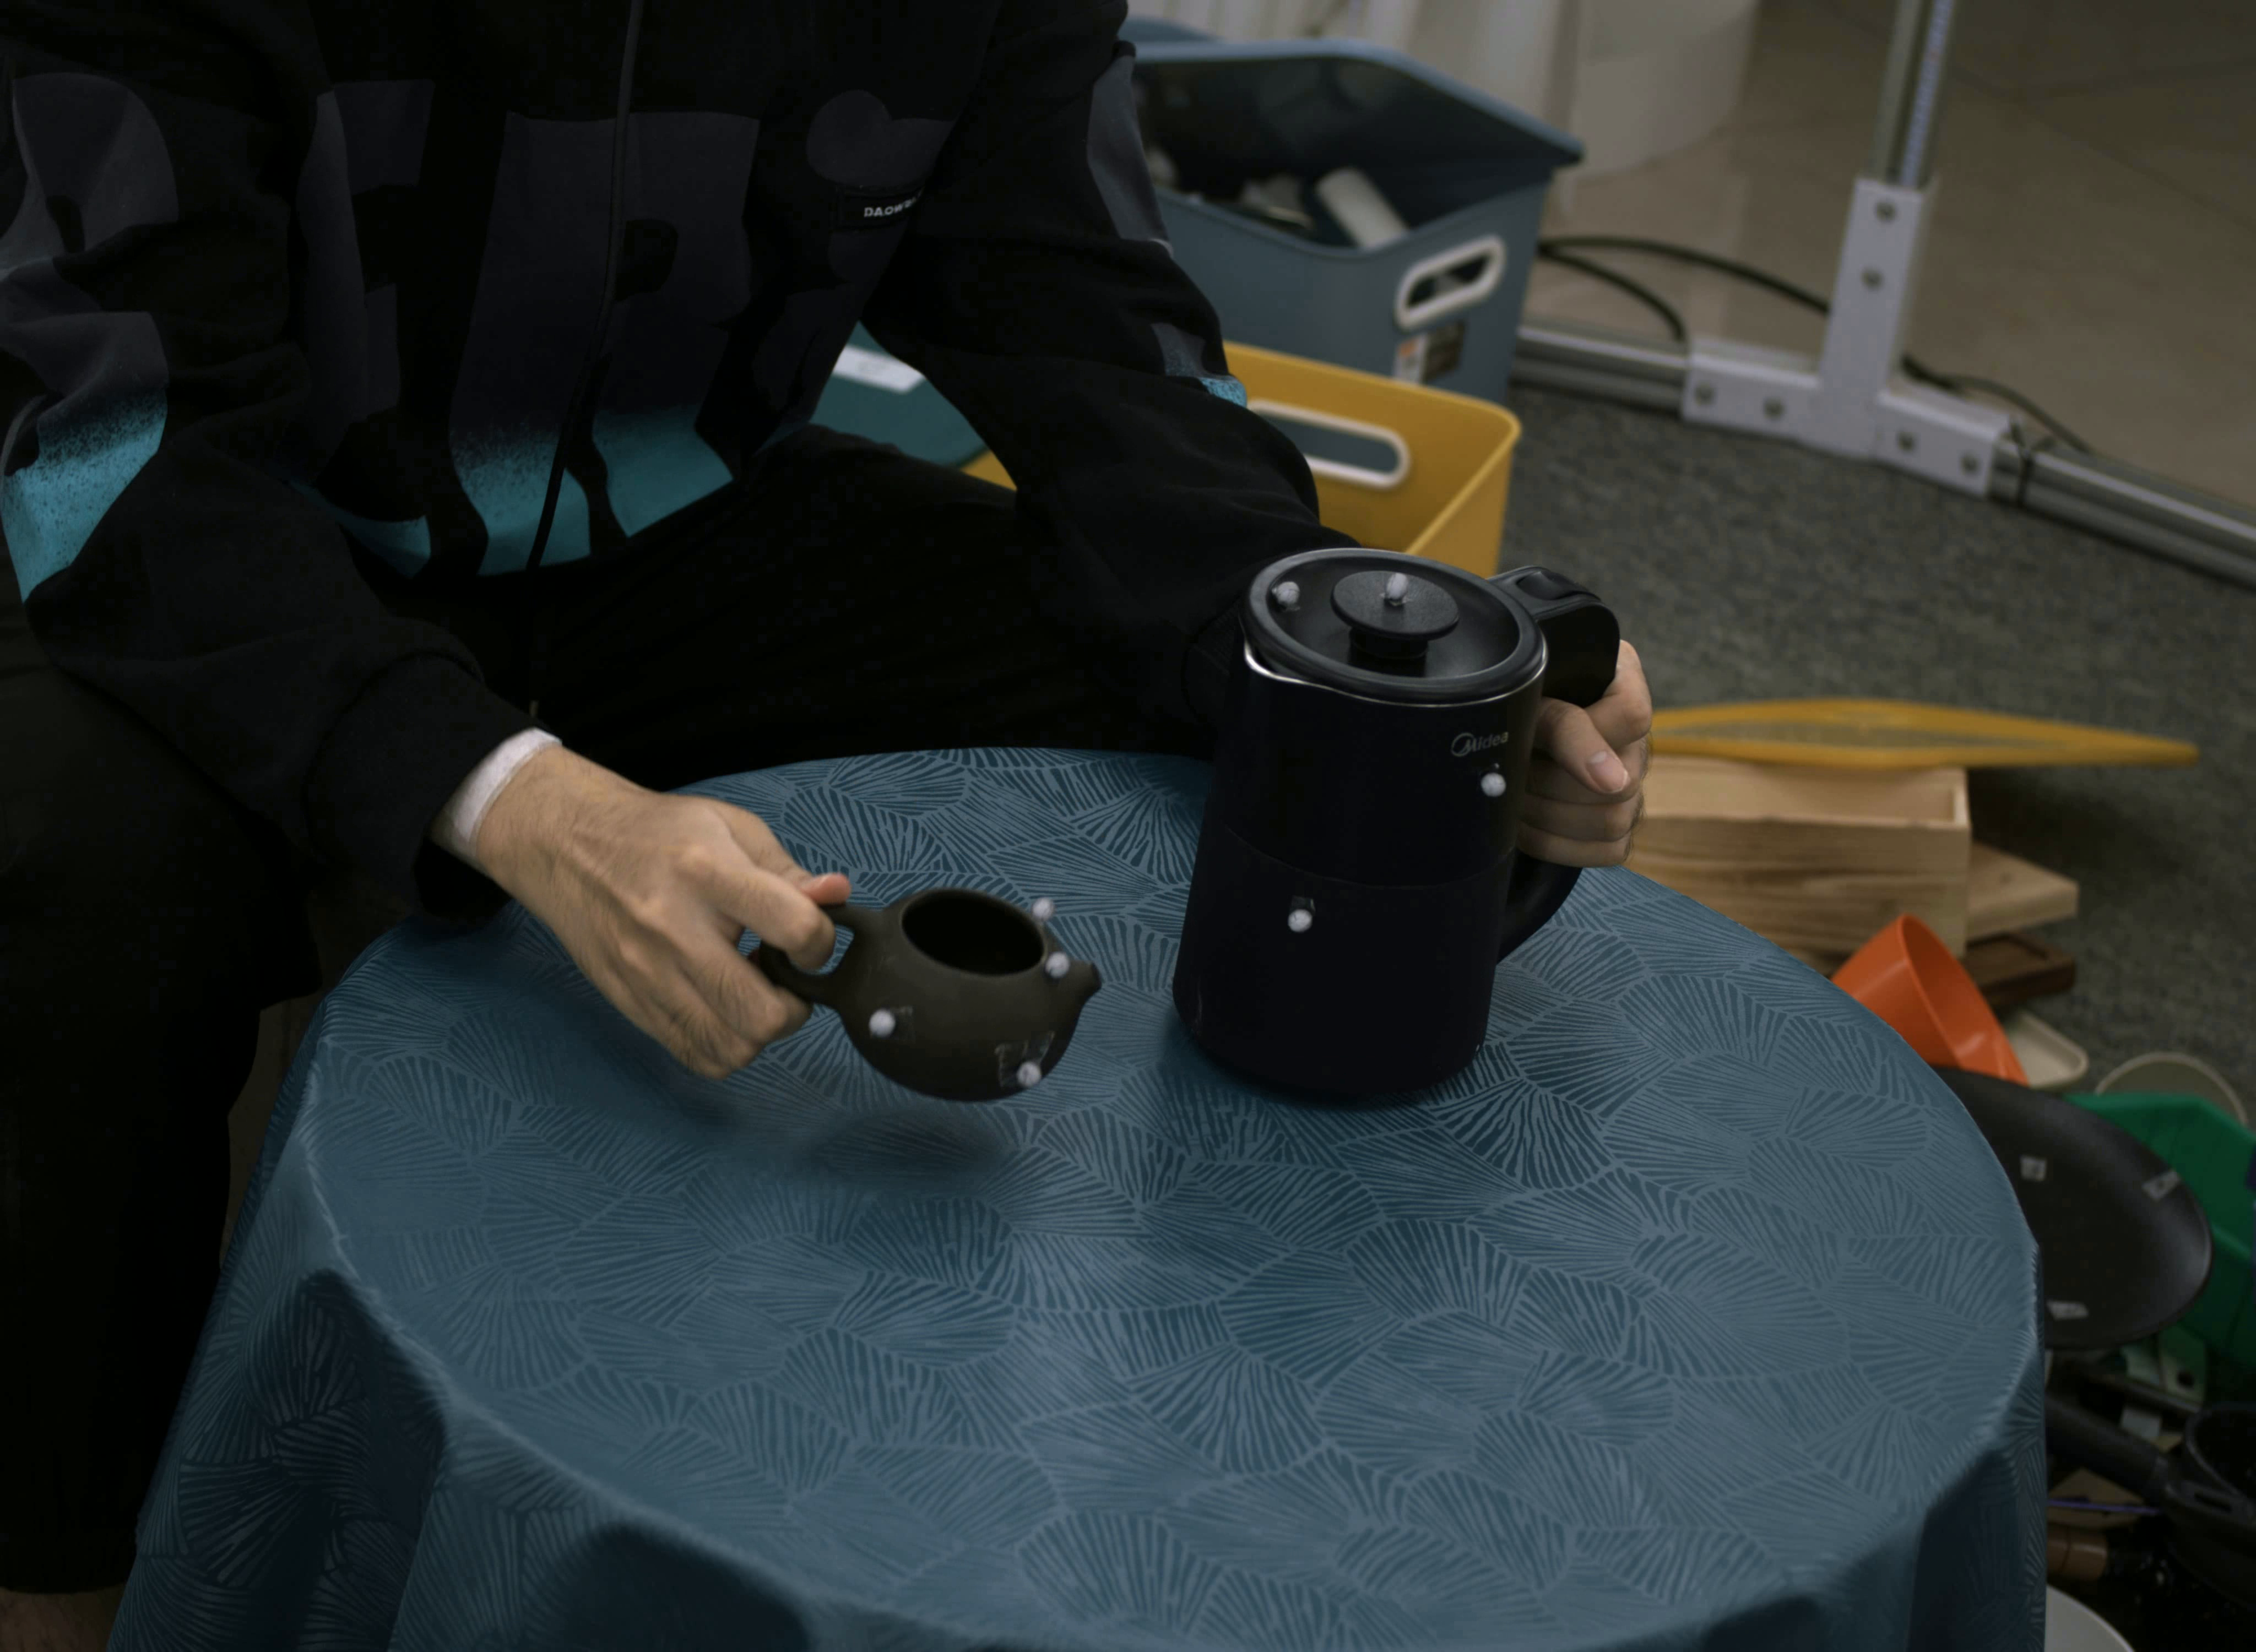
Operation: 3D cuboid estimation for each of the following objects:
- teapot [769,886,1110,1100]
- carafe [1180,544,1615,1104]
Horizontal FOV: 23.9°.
[{"bbox_3d":[-0.066,0.052,1.795,0.114,0.053,0.083,19,29,1],"label":"teapot"},{"bbox_3d":[0.099,-0.012,1.879,0.171,0.173,0.115,-19,37,-37],"label":"carafe"}]
